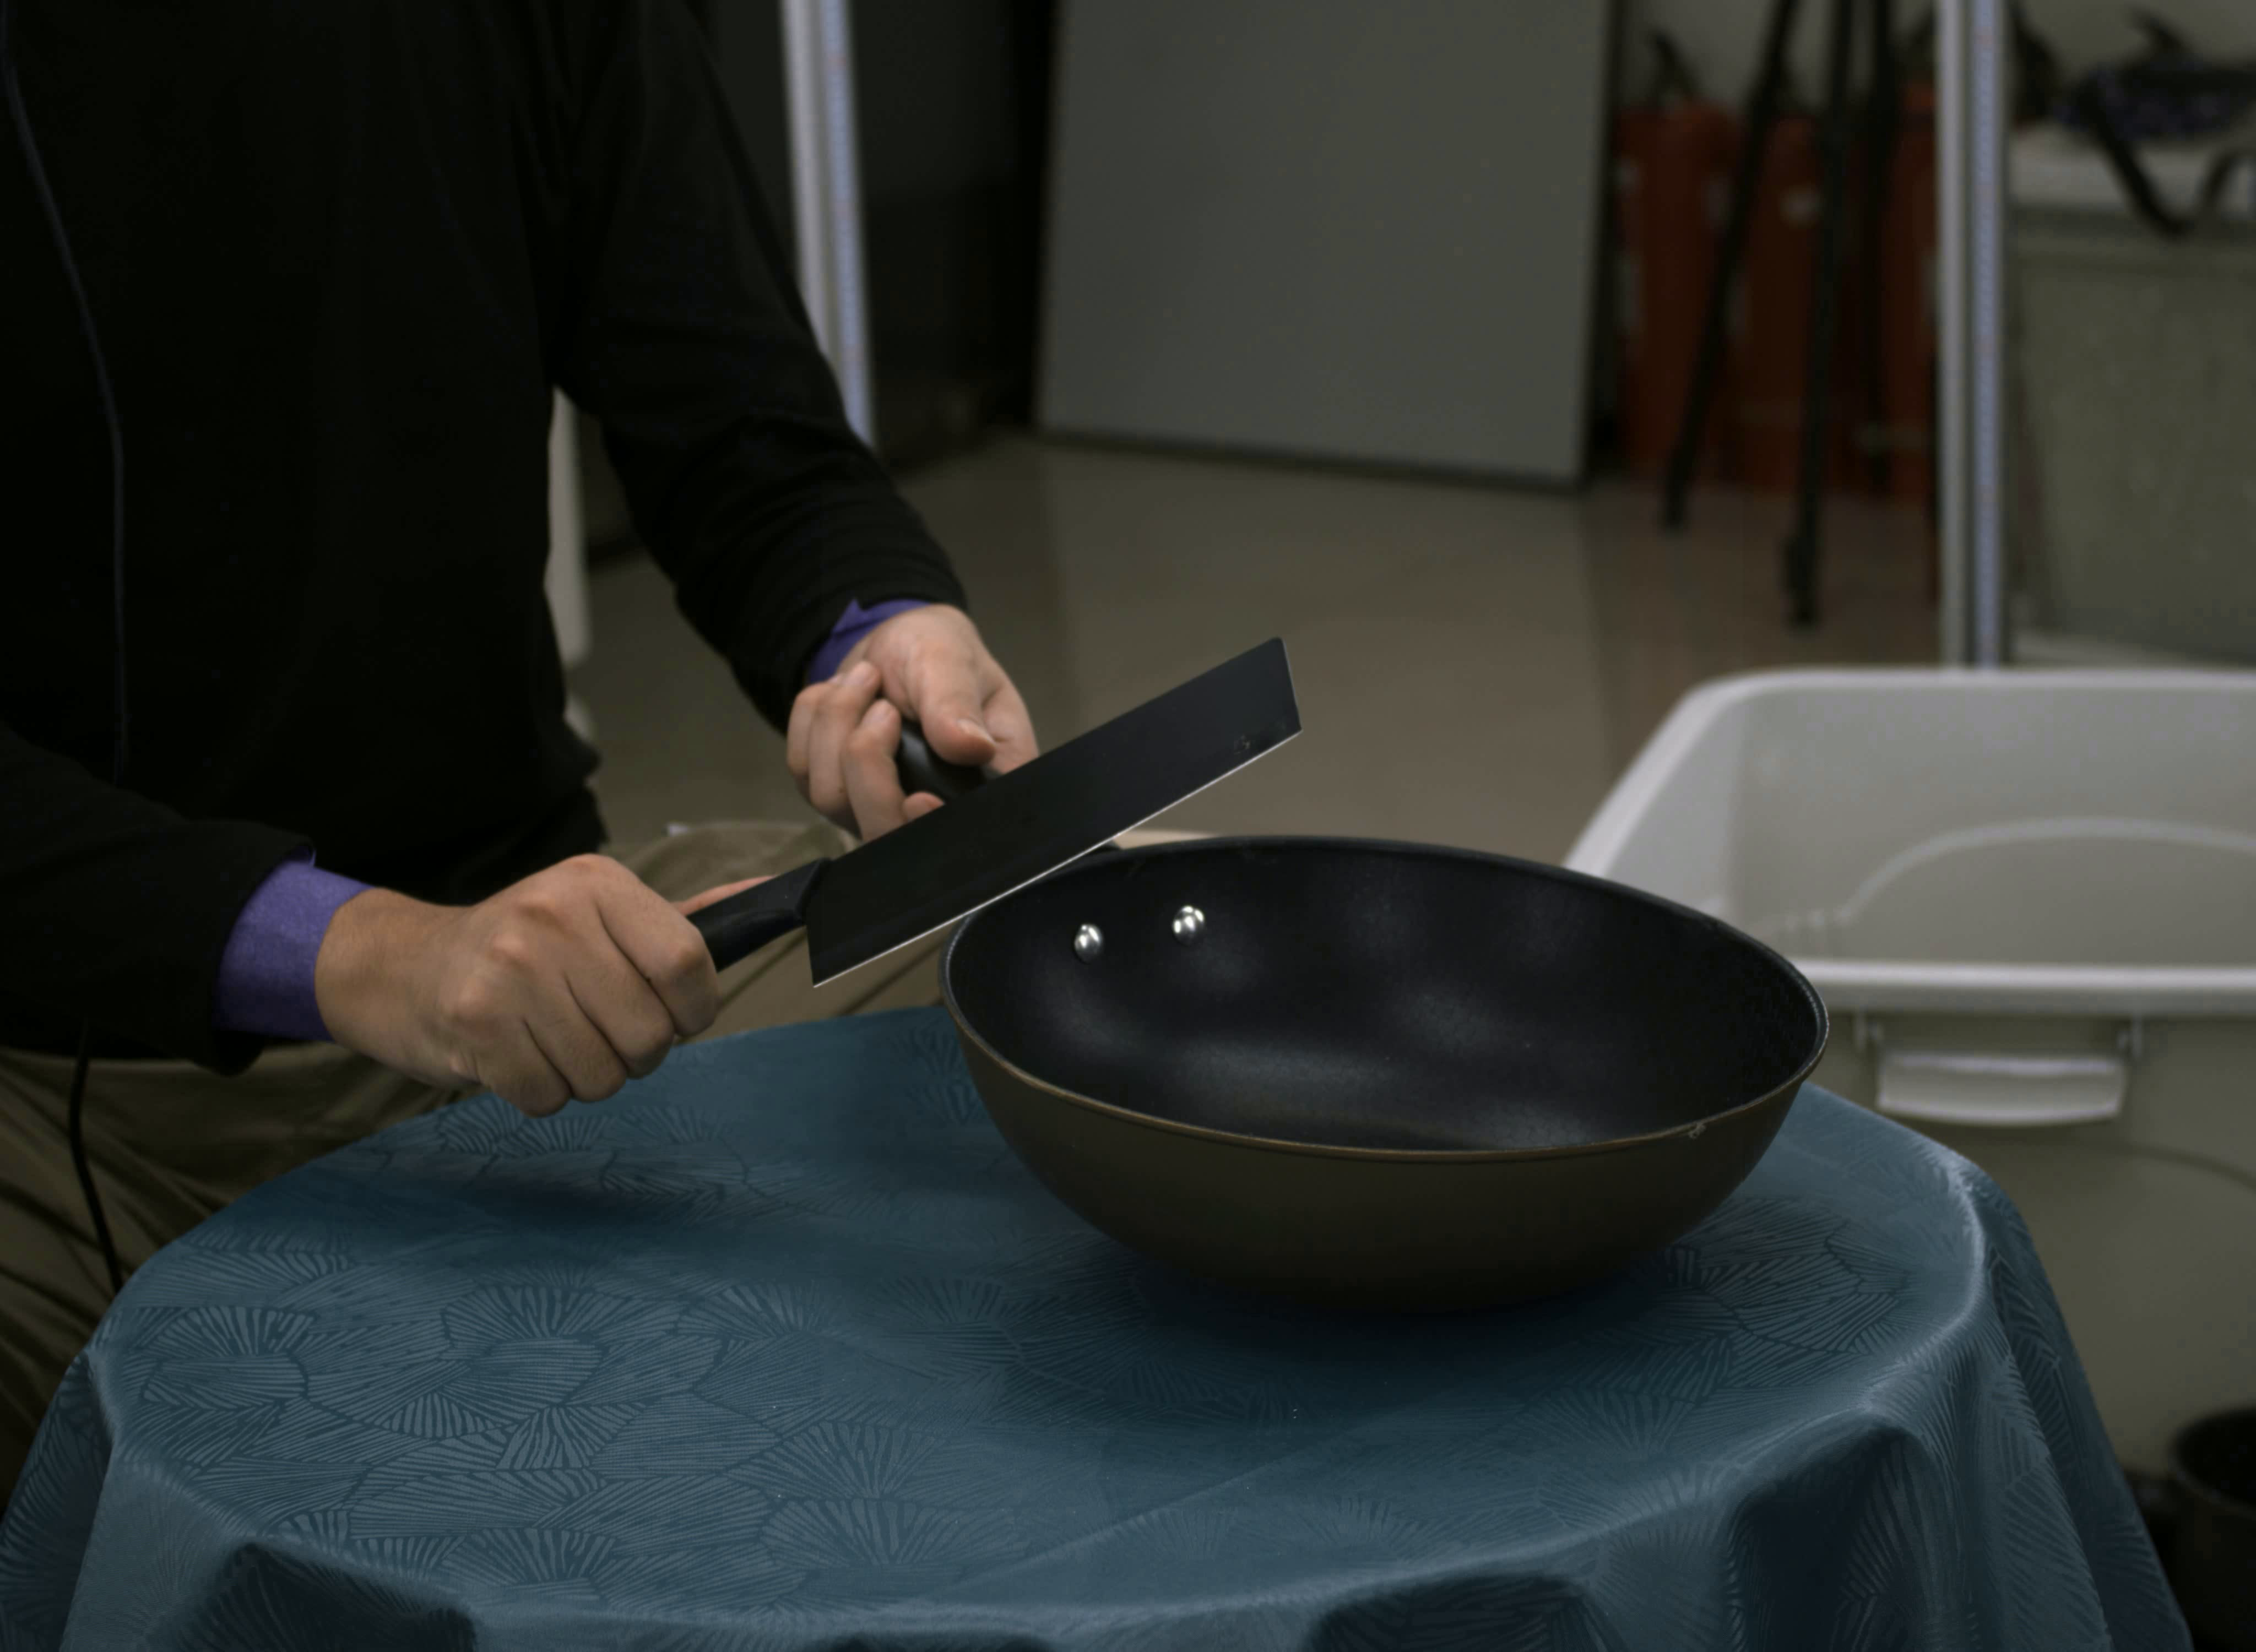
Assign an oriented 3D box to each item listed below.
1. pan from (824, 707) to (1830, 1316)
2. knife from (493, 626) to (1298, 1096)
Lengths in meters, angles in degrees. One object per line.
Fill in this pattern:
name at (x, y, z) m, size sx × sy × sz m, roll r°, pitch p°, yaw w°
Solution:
pan at (0.024, 0.059, 1.757) m, size 0.281 × 0.088 × 0.468 m, roll -10°, pitch 22°, yaw -34°
knife at (-0.077, 0.017, 1.755) m, size 0.302 × 0.021 × 0.081 m, roll -26°, pitch 31°, yaw 17°
